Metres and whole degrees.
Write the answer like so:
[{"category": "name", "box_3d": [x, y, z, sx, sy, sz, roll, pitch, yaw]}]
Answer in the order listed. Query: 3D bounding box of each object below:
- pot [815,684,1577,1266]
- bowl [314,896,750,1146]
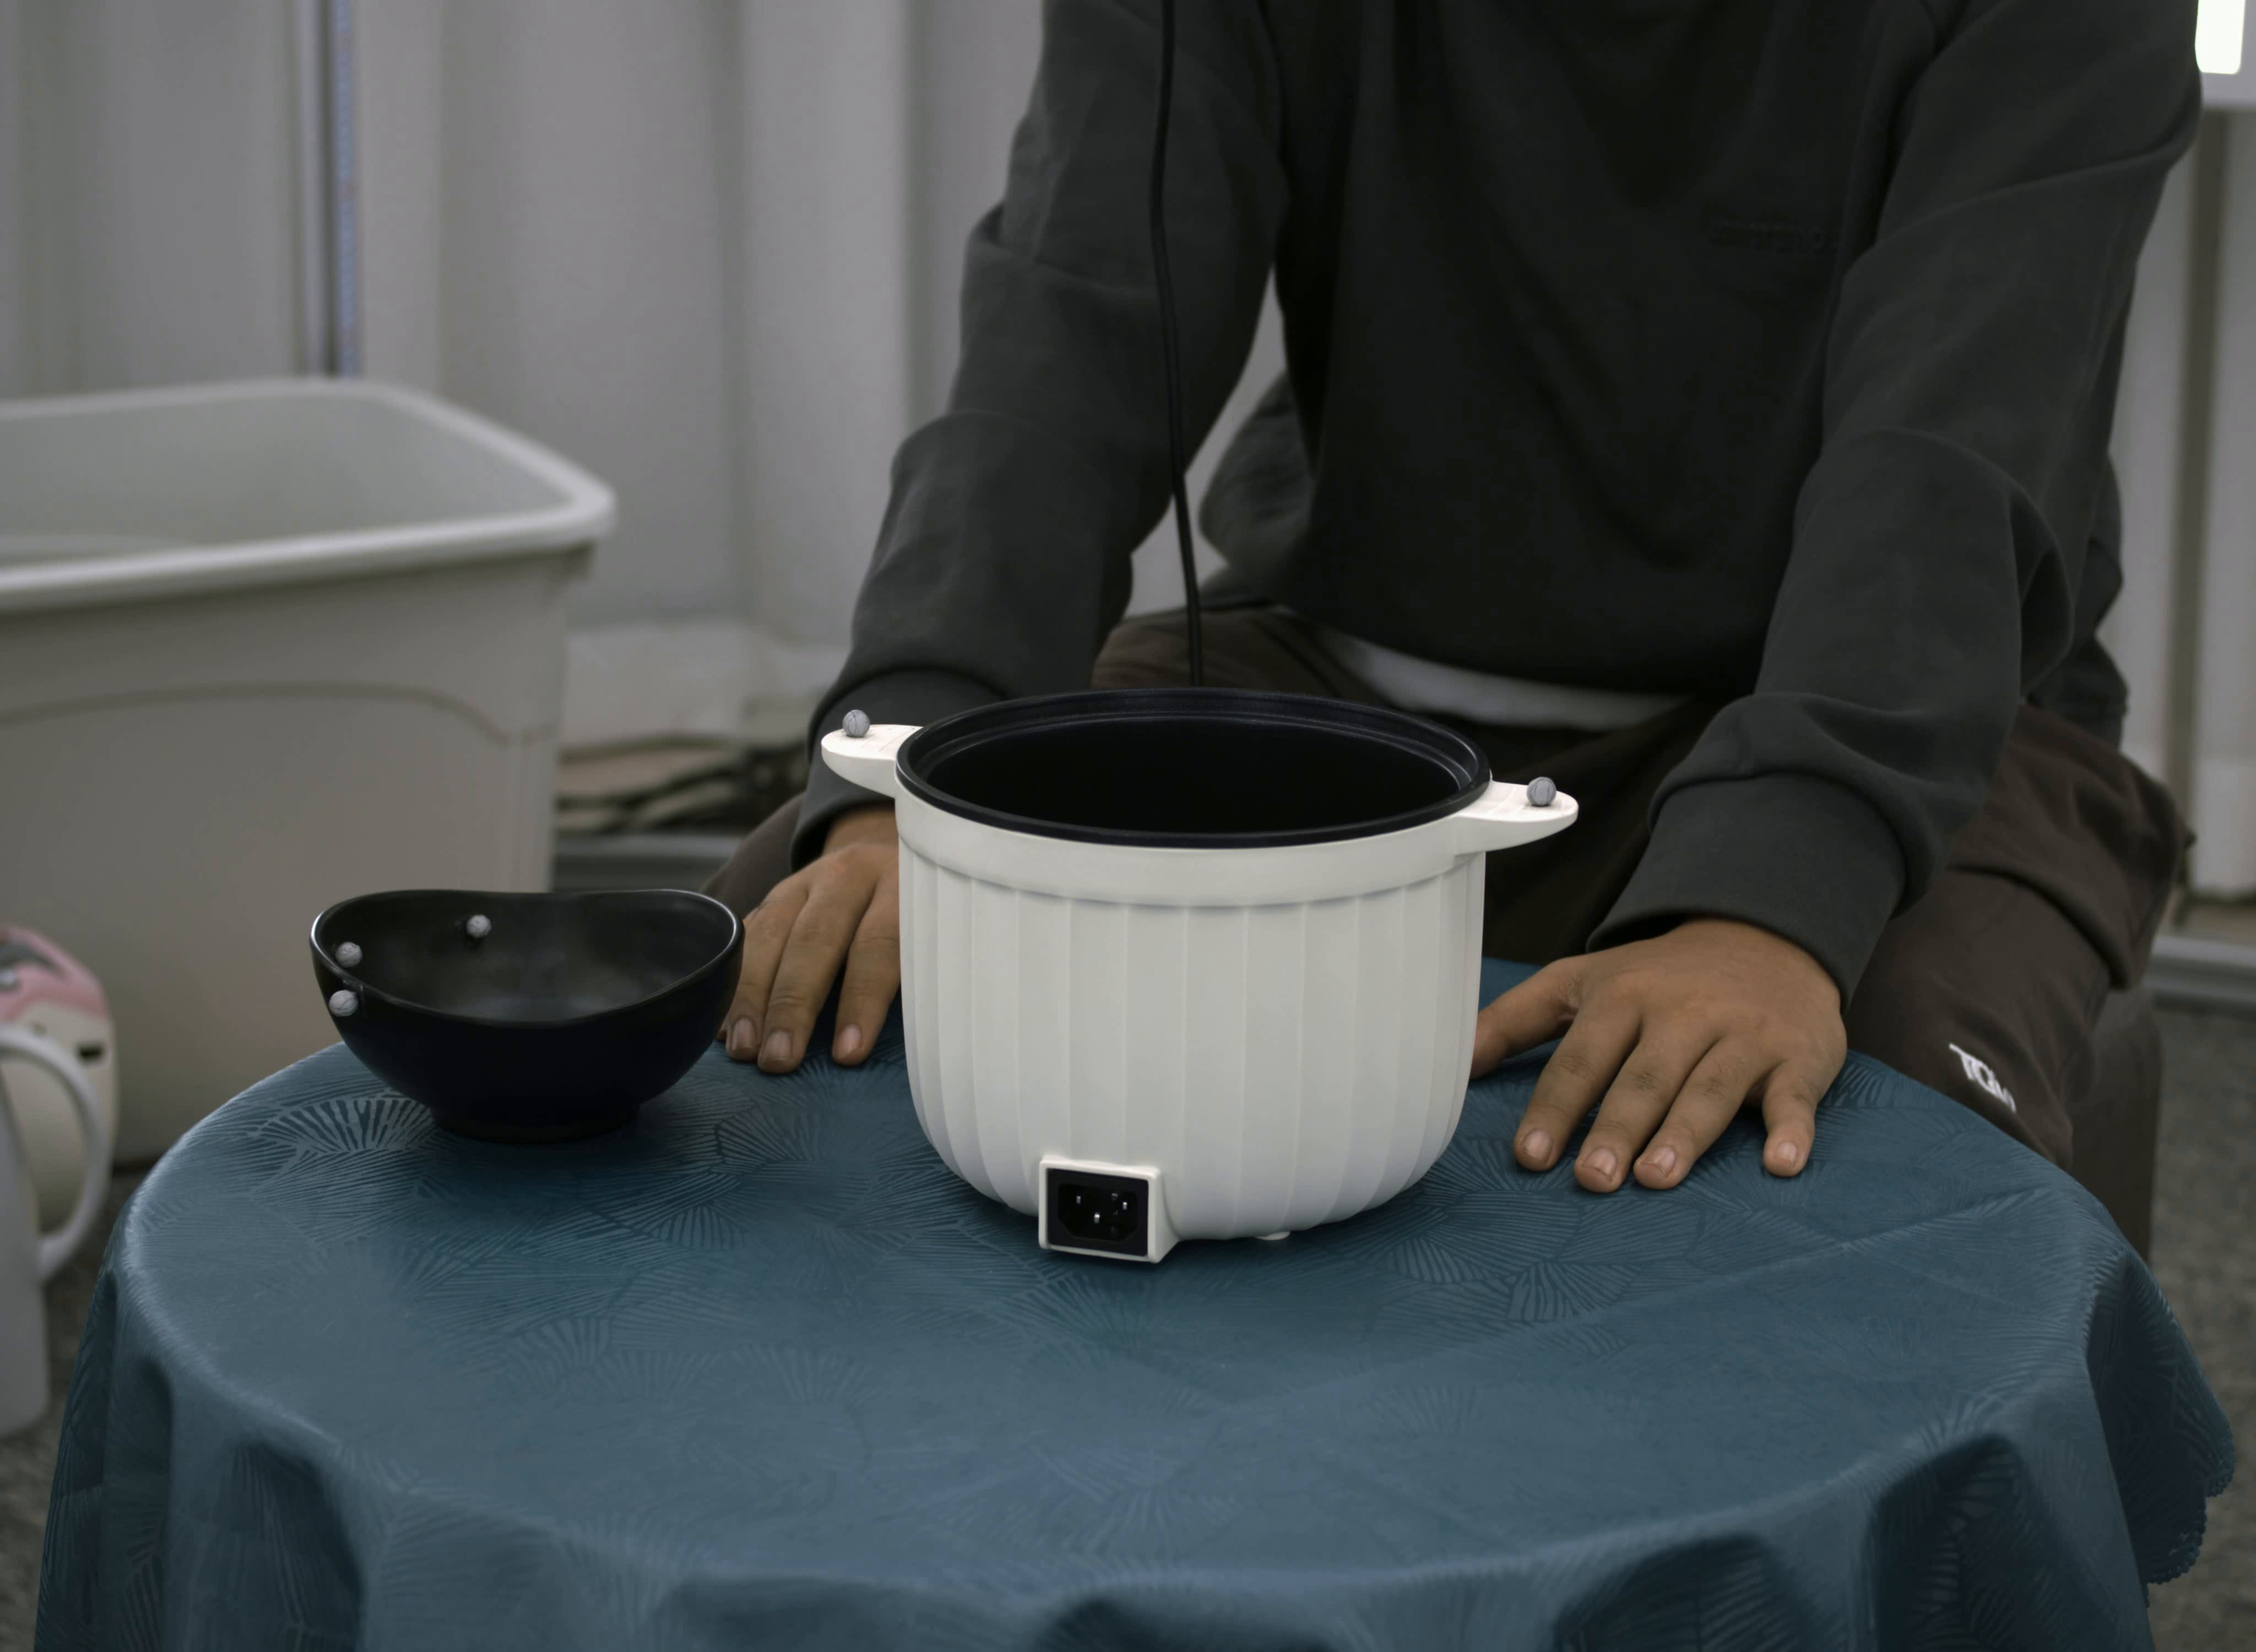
[{"category": "pot", "box_3d": [0.019, 0.042, 1.623, 0.238, 0.144, 0.190, 7, 20, 16]}, {"category": "bowl", "box_3d": [-0.189, 0.062, 1.679, 0.137, 0.067, 0.169, 0, 14, -5]}]
